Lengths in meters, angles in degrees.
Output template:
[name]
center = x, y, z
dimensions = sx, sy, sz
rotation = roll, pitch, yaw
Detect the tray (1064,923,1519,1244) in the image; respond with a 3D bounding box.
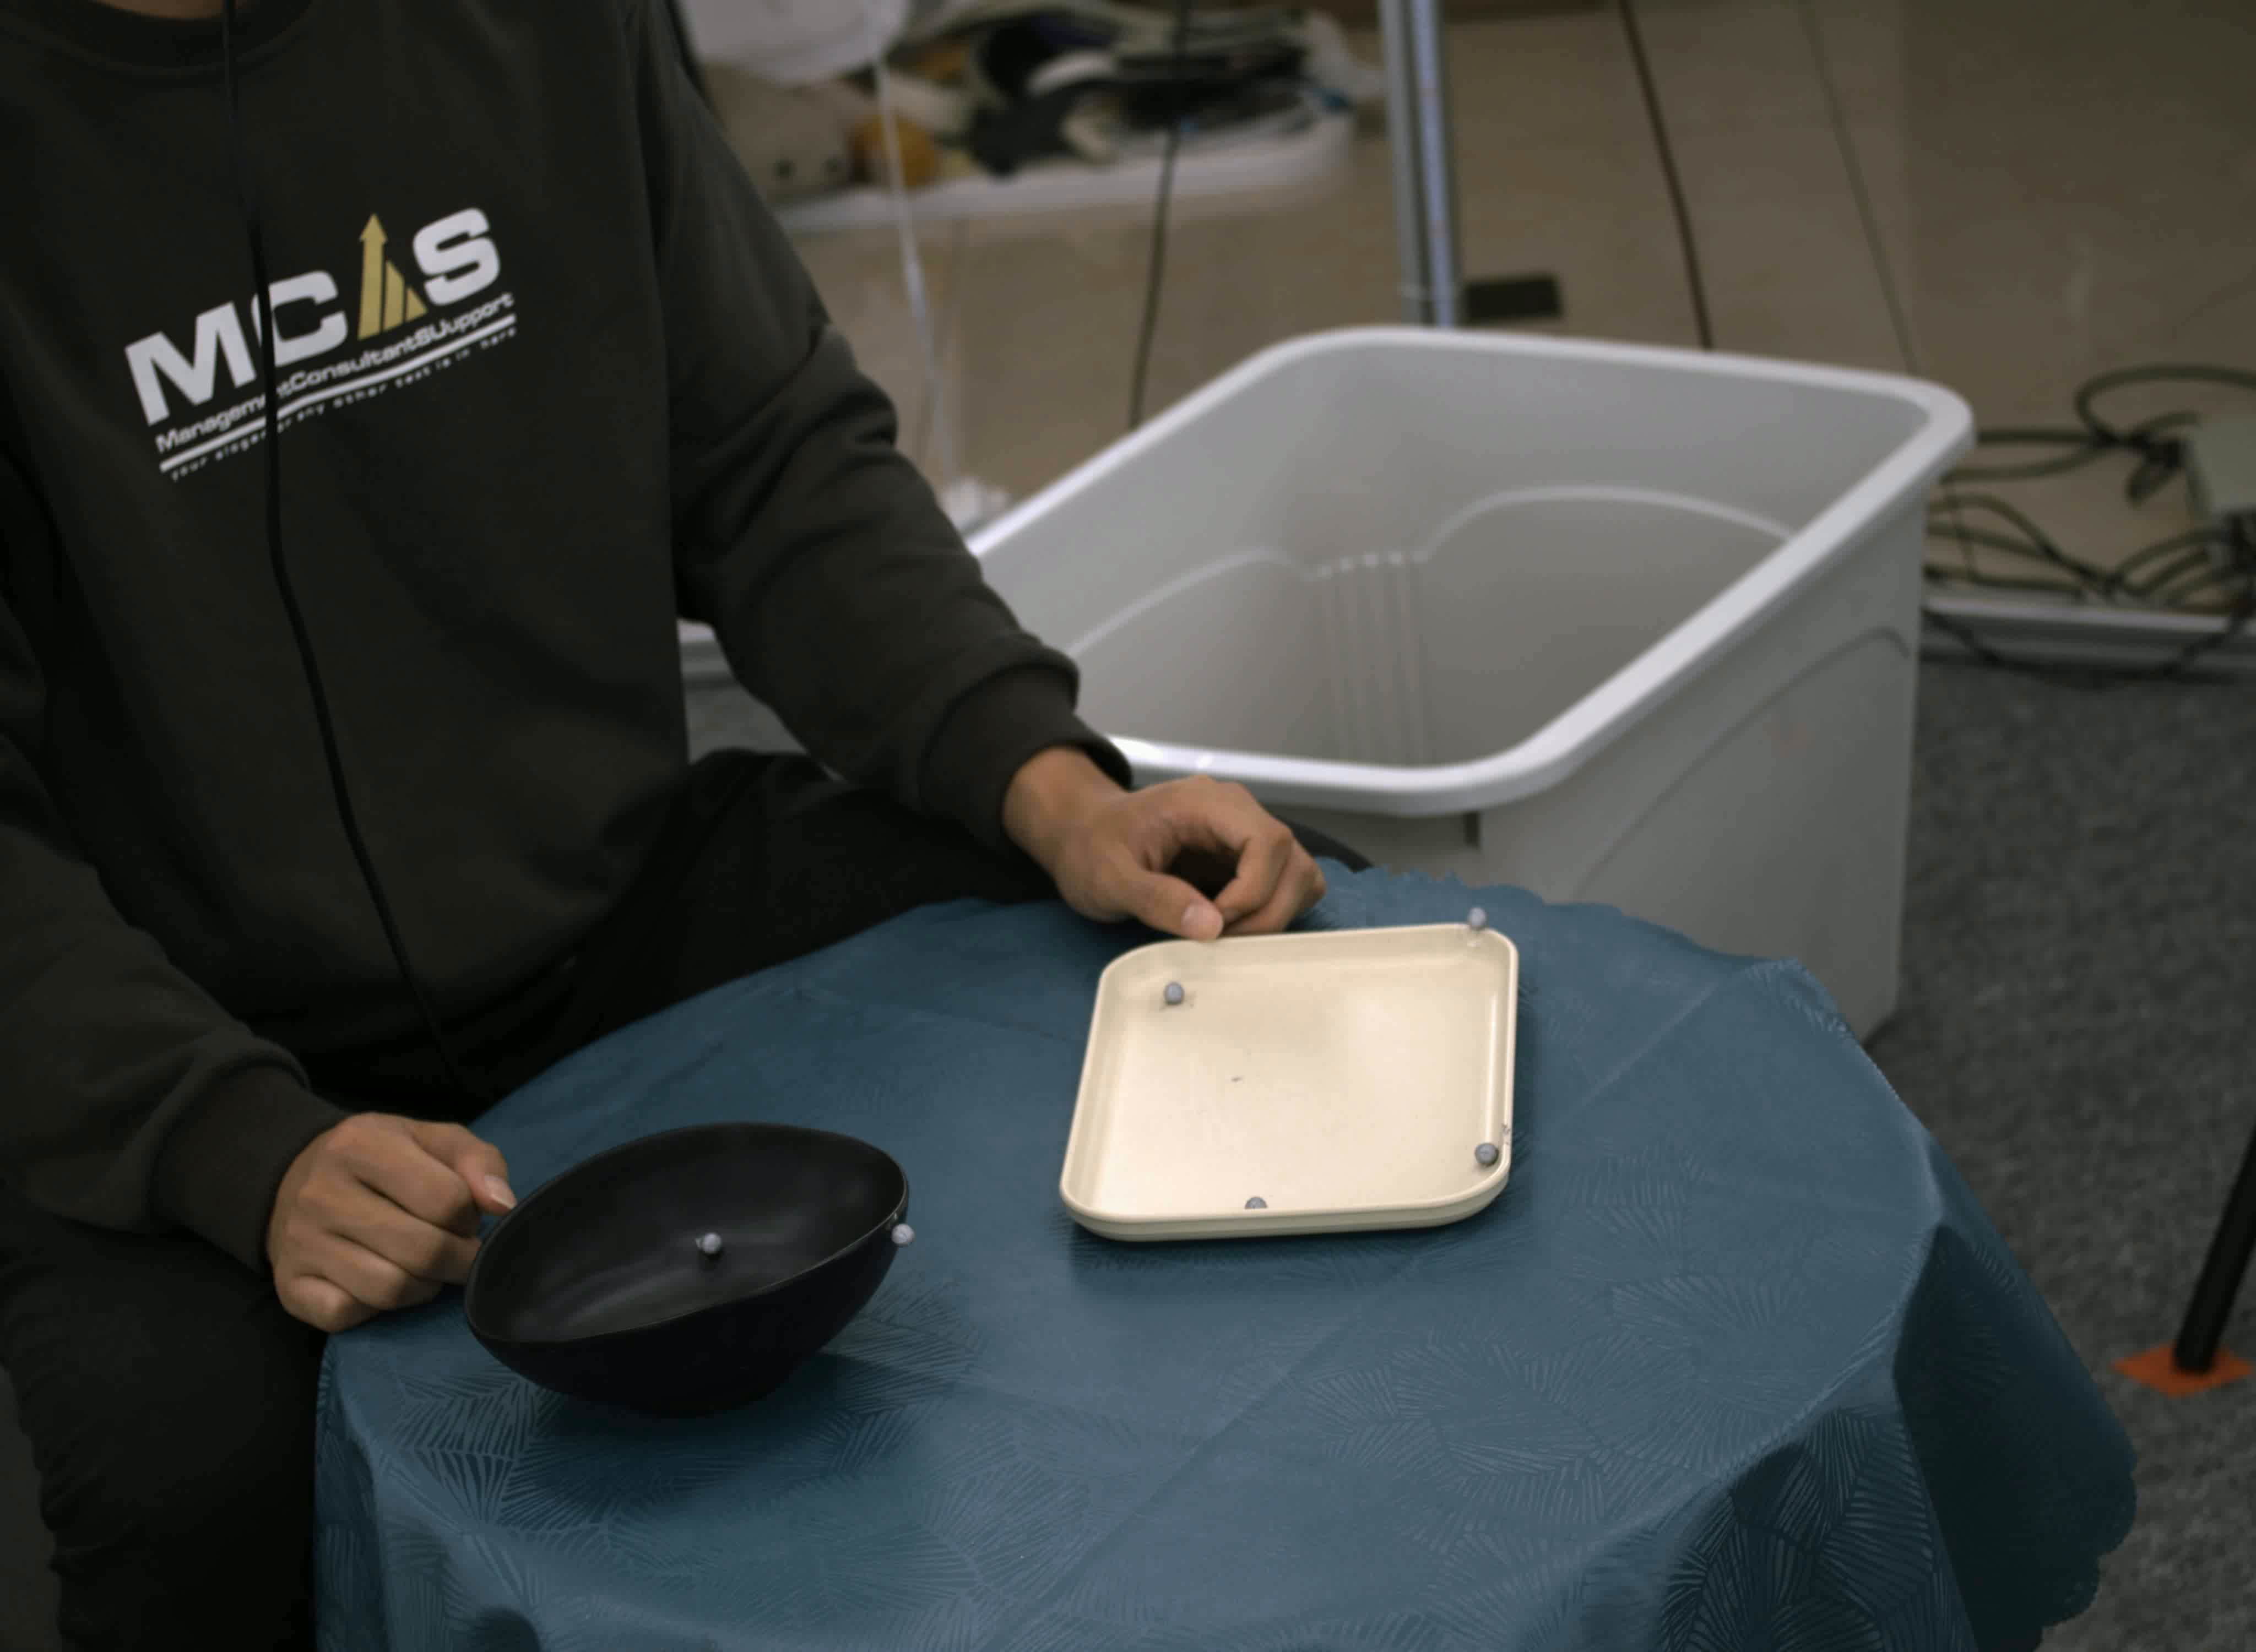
[tray]
center = 0.067, 0.099, 2.196
dimensions = 0.171, 0.018, 0.236
rotation = -4, 24, 7

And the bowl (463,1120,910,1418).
[bowl]
center = -0.154, 0.169, 2.045
dimensions = 0.169, 0.068, 0.136
rotation = -22, 28, -27
